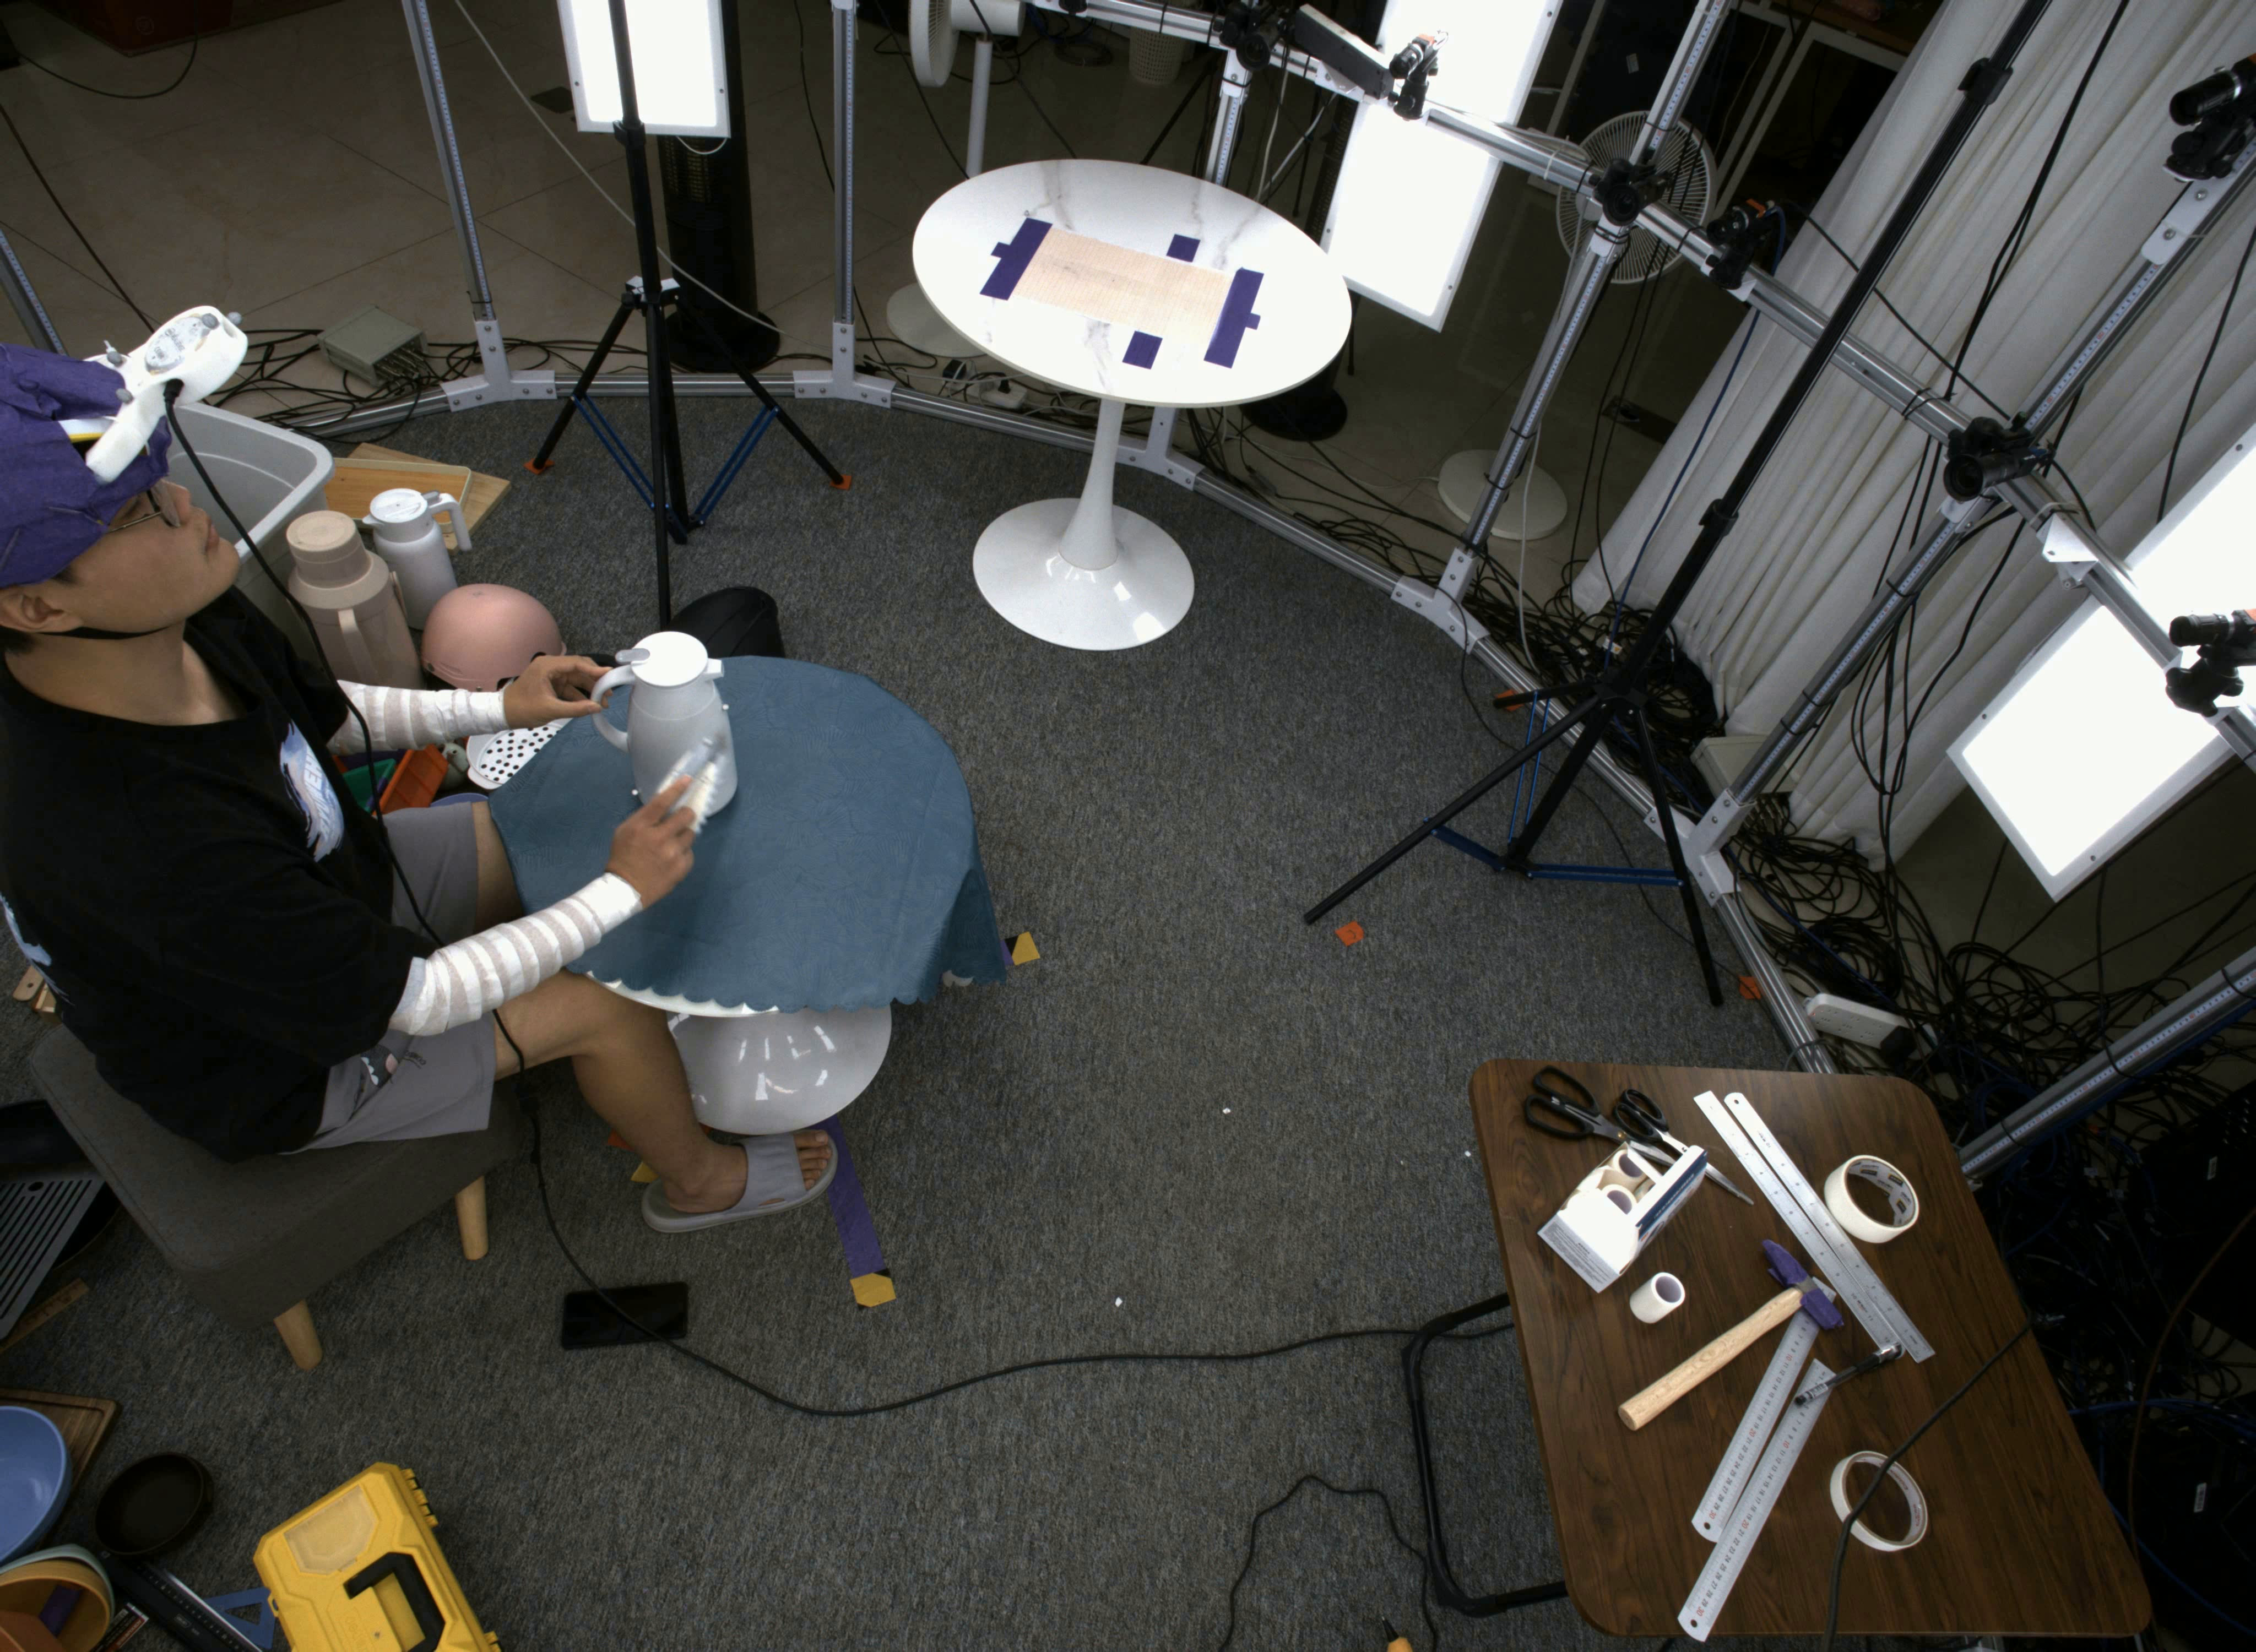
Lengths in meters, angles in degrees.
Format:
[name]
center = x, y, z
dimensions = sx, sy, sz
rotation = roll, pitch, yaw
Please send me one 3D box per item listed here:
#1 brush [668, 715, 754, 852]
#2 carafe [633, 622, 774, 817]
[brush]
center = -0.498, -0.049, 1.543
dimensions = 0.062, 0.177, 0.093
rotation = 28, 13, -9
[carafe]
center = -0.547, -0.141, 1.647
dimensions = 0.168, 0.254, 0.129
rotation = -2, 53, -12
